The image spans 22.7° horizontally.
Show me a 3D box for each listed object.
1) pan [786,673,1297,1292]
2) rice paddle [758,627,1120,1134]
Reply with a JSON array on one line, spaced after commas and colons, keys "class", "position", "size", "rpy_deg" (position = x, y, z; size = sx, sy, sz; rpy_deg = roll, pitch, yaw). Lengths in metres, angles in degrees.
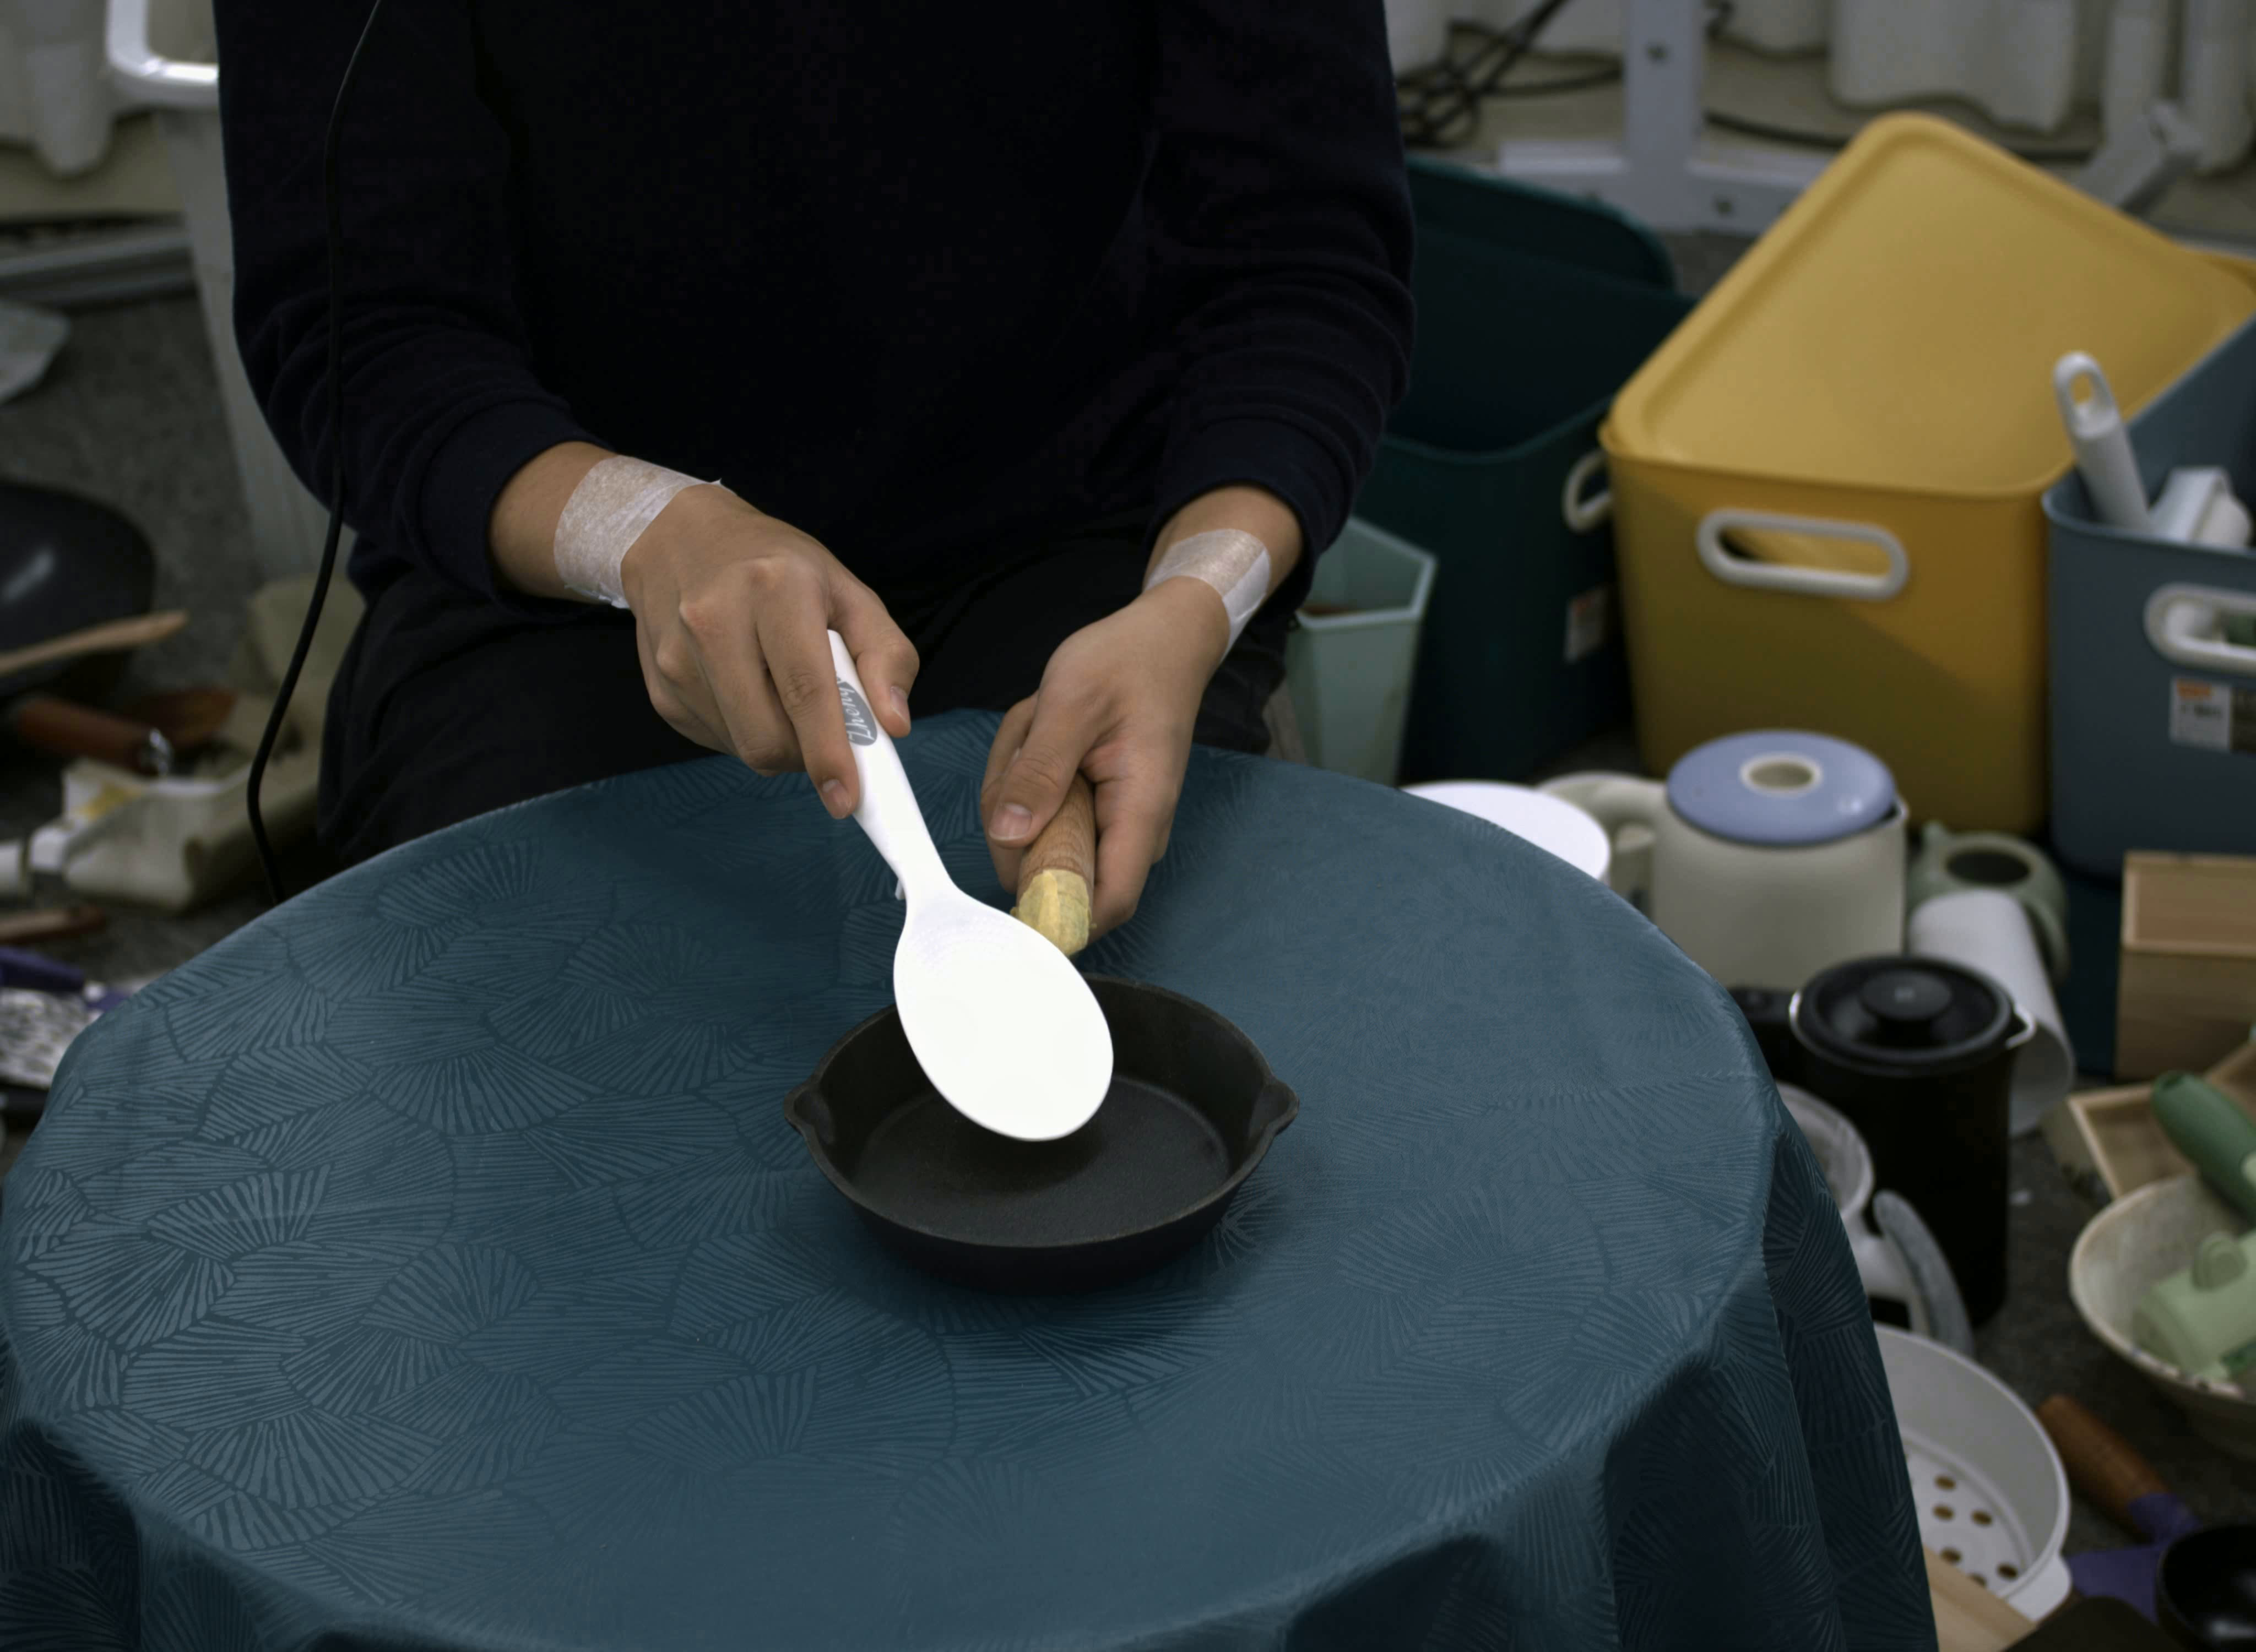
[{"class": "pan", "position": [-0.024, 0.051, 1.918], "size": [0.168, 0.049, 0.330], "rpy_deg": [1, 33, 3]}, {"class": "rice paddle", "position": [-0.066, 0.019, 1.897], "size": [0.069, 0.029, 0.207], "rpy_deg": [-18, 61, -25]}]
